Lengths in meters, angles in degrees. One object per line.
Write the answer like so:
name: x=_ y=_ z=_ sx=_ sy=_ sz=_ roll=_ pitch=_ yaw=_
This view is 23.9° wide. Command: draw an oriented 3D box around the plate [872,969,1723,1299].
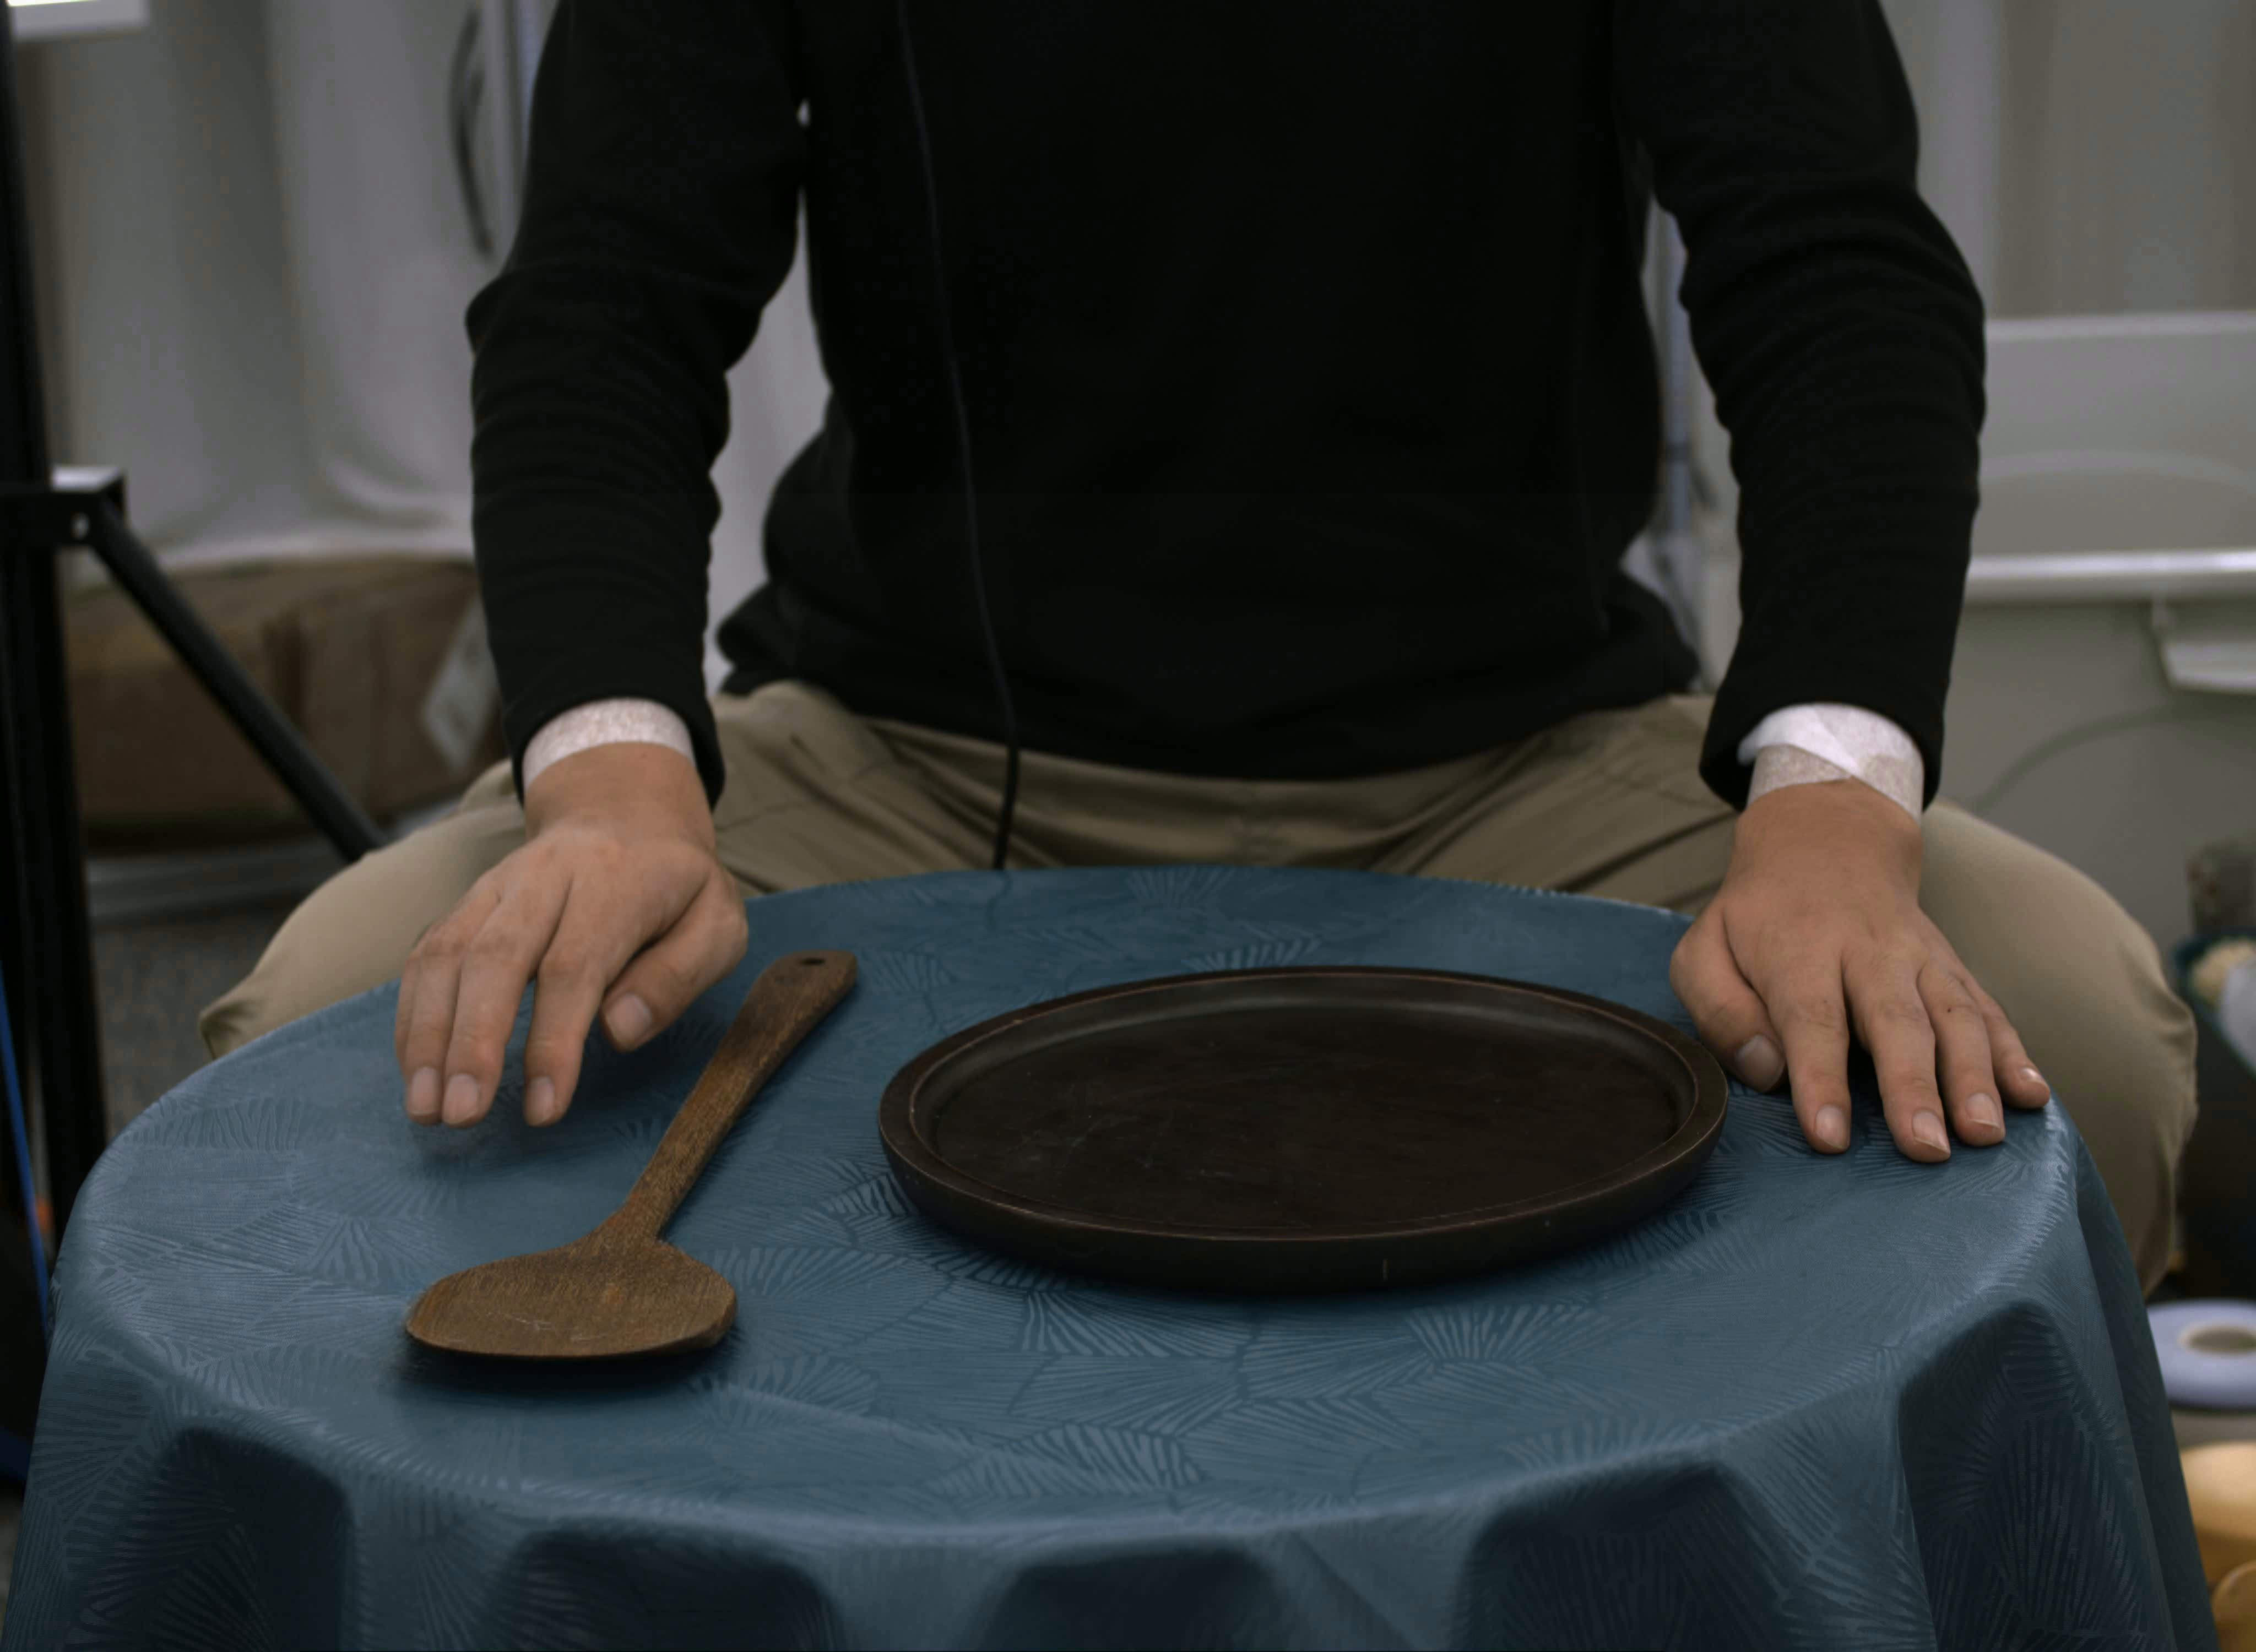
plate: x=0.051 y=0.089 z=1.574 sx=0.253 sy=0.029 sz=0.256 roll=-4 pitch=15 yaw=0

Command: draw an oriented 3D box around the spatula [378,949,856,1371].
spatula: x=-0.131 y=0.094 z=1.603 sx=0.096 sy=0.016 sz=0.384 roll=1 pitch=16 yaw=9
